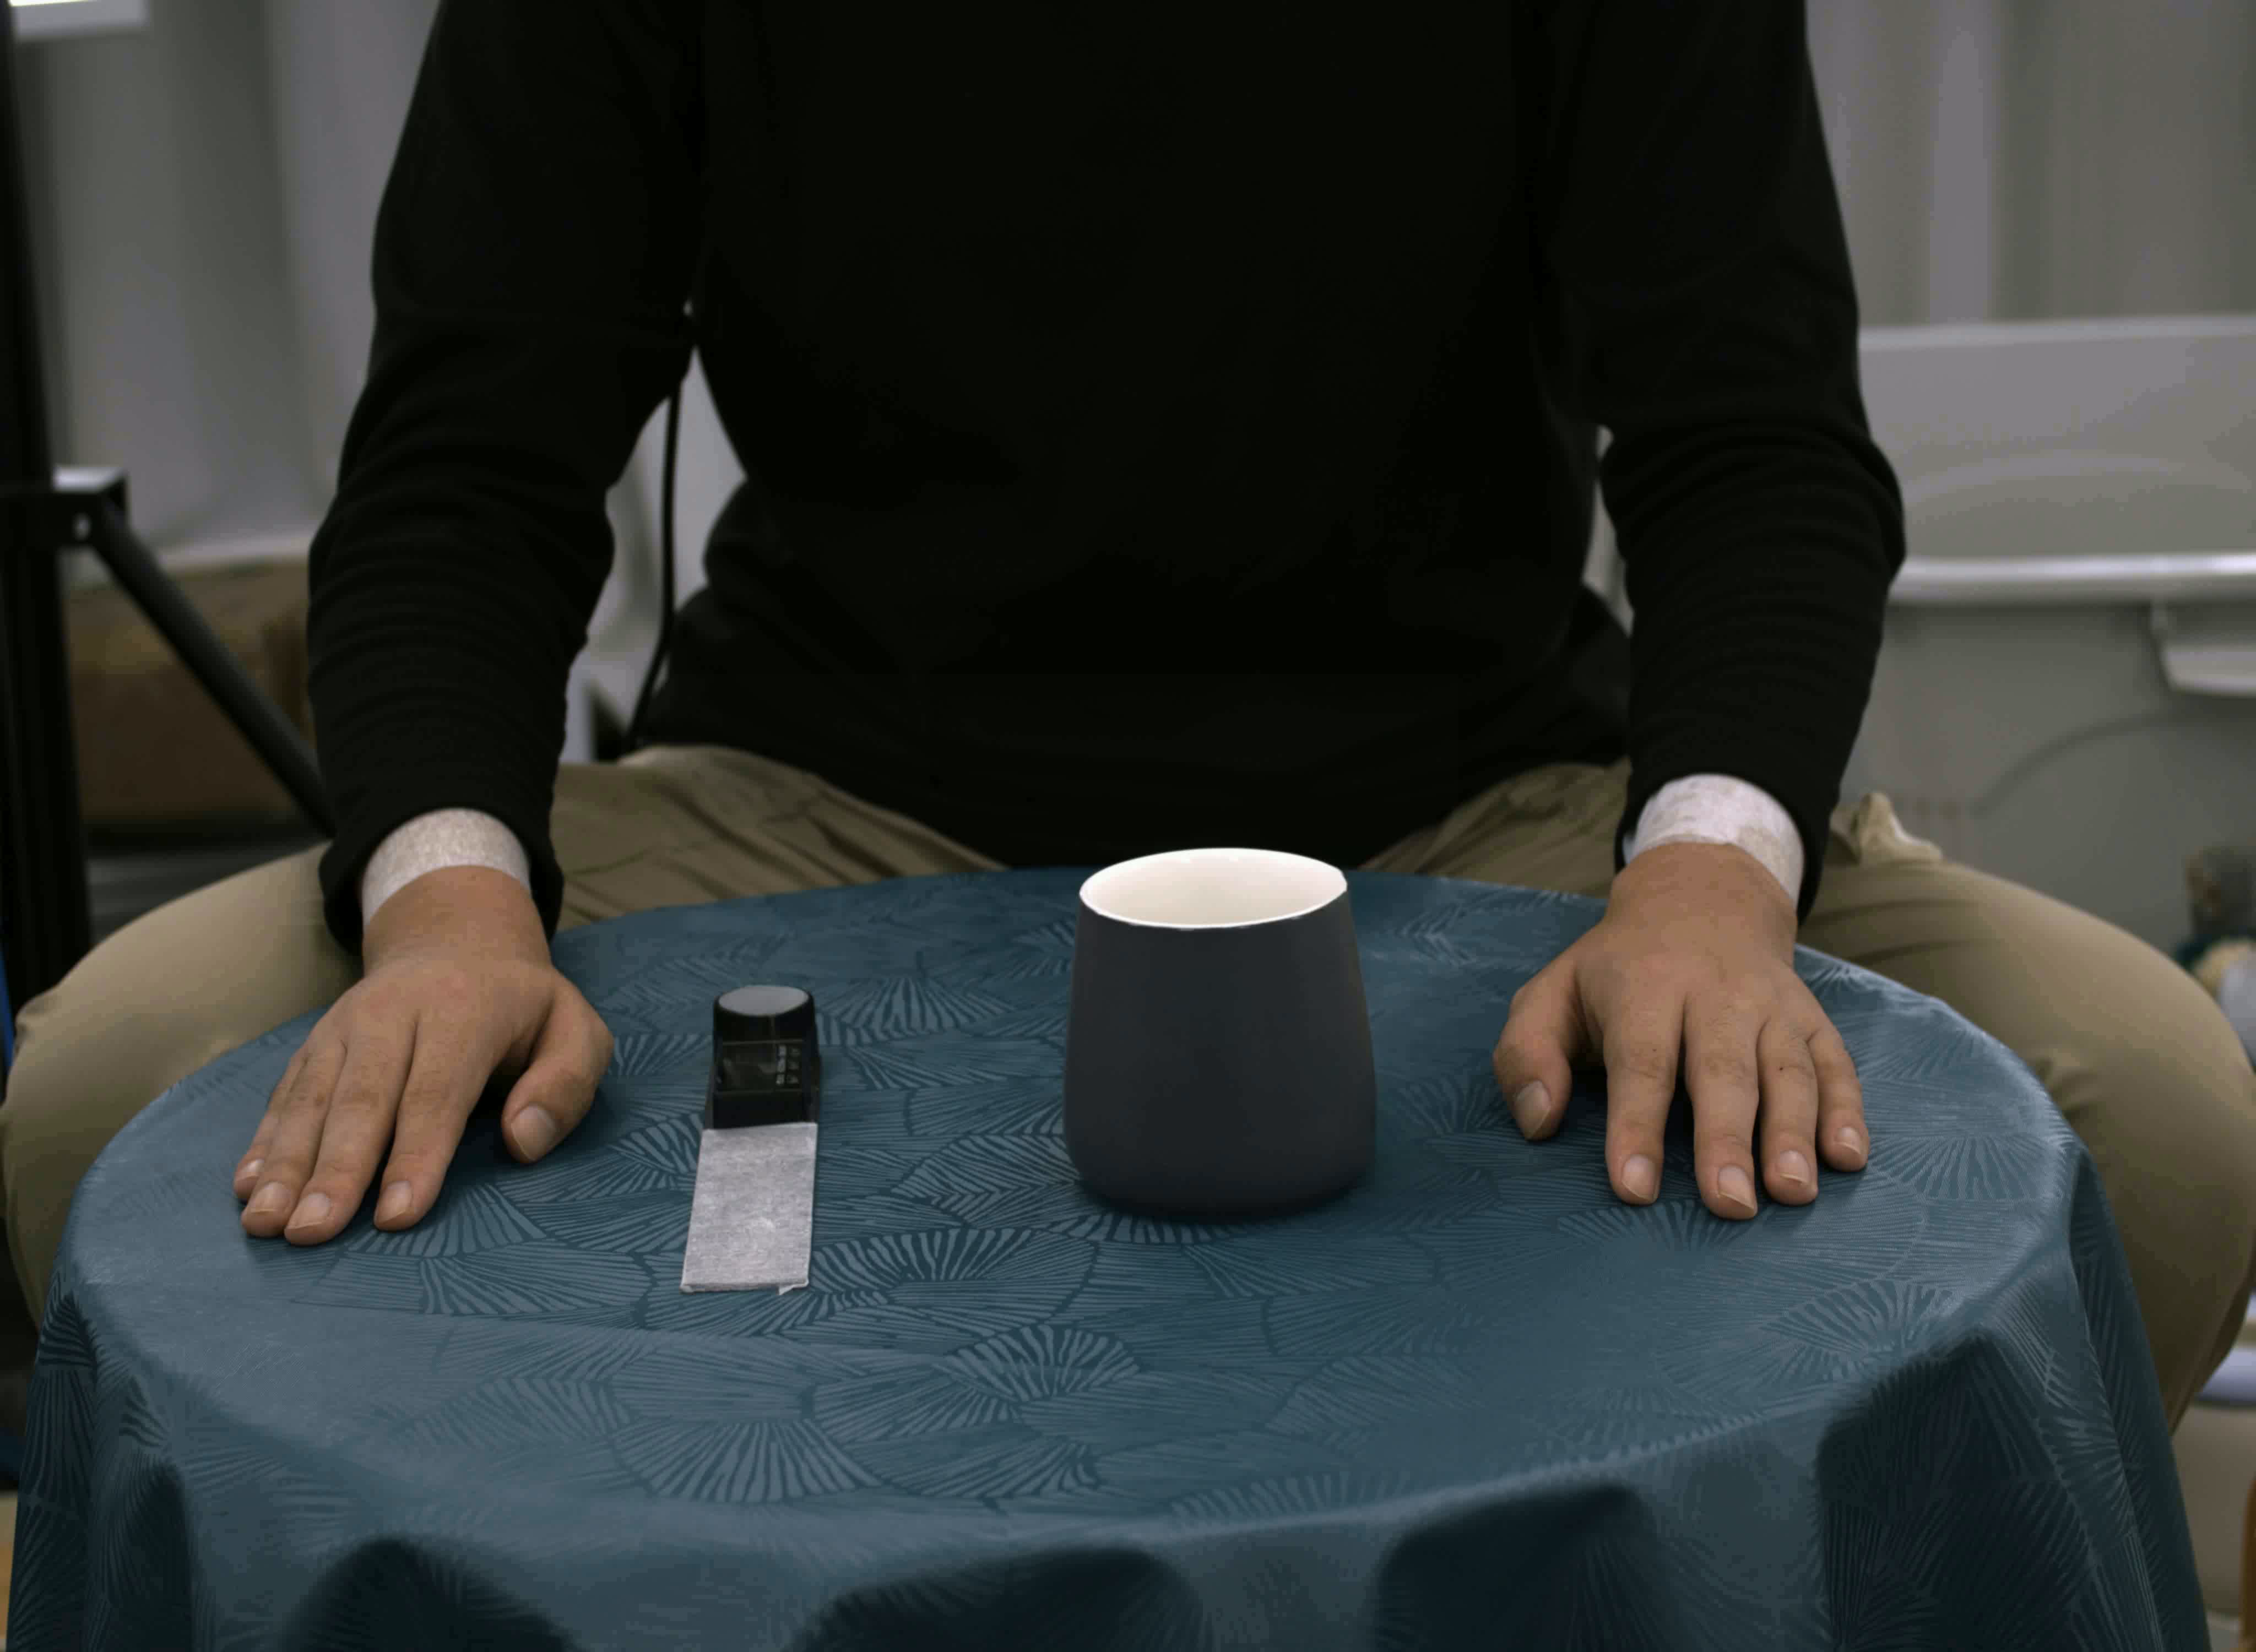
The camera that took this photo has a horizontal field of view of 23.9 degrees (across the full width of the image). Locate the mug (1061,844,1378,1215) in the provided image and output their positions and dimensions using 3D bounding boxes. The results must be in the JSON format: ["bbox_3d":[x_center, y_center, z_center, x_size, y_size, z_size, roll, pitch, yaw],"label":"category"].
[{"bbox_3d":[0.028,0.055,1.568,0.093,0.090,0.123,0,16,5],"label":"mug"}]

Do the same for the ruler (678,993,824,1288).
[{"bbox_3d":[-0.112,0.091,1.594,0.038,0.024,0.219,-9,15,1],"label":"ruler"}]
